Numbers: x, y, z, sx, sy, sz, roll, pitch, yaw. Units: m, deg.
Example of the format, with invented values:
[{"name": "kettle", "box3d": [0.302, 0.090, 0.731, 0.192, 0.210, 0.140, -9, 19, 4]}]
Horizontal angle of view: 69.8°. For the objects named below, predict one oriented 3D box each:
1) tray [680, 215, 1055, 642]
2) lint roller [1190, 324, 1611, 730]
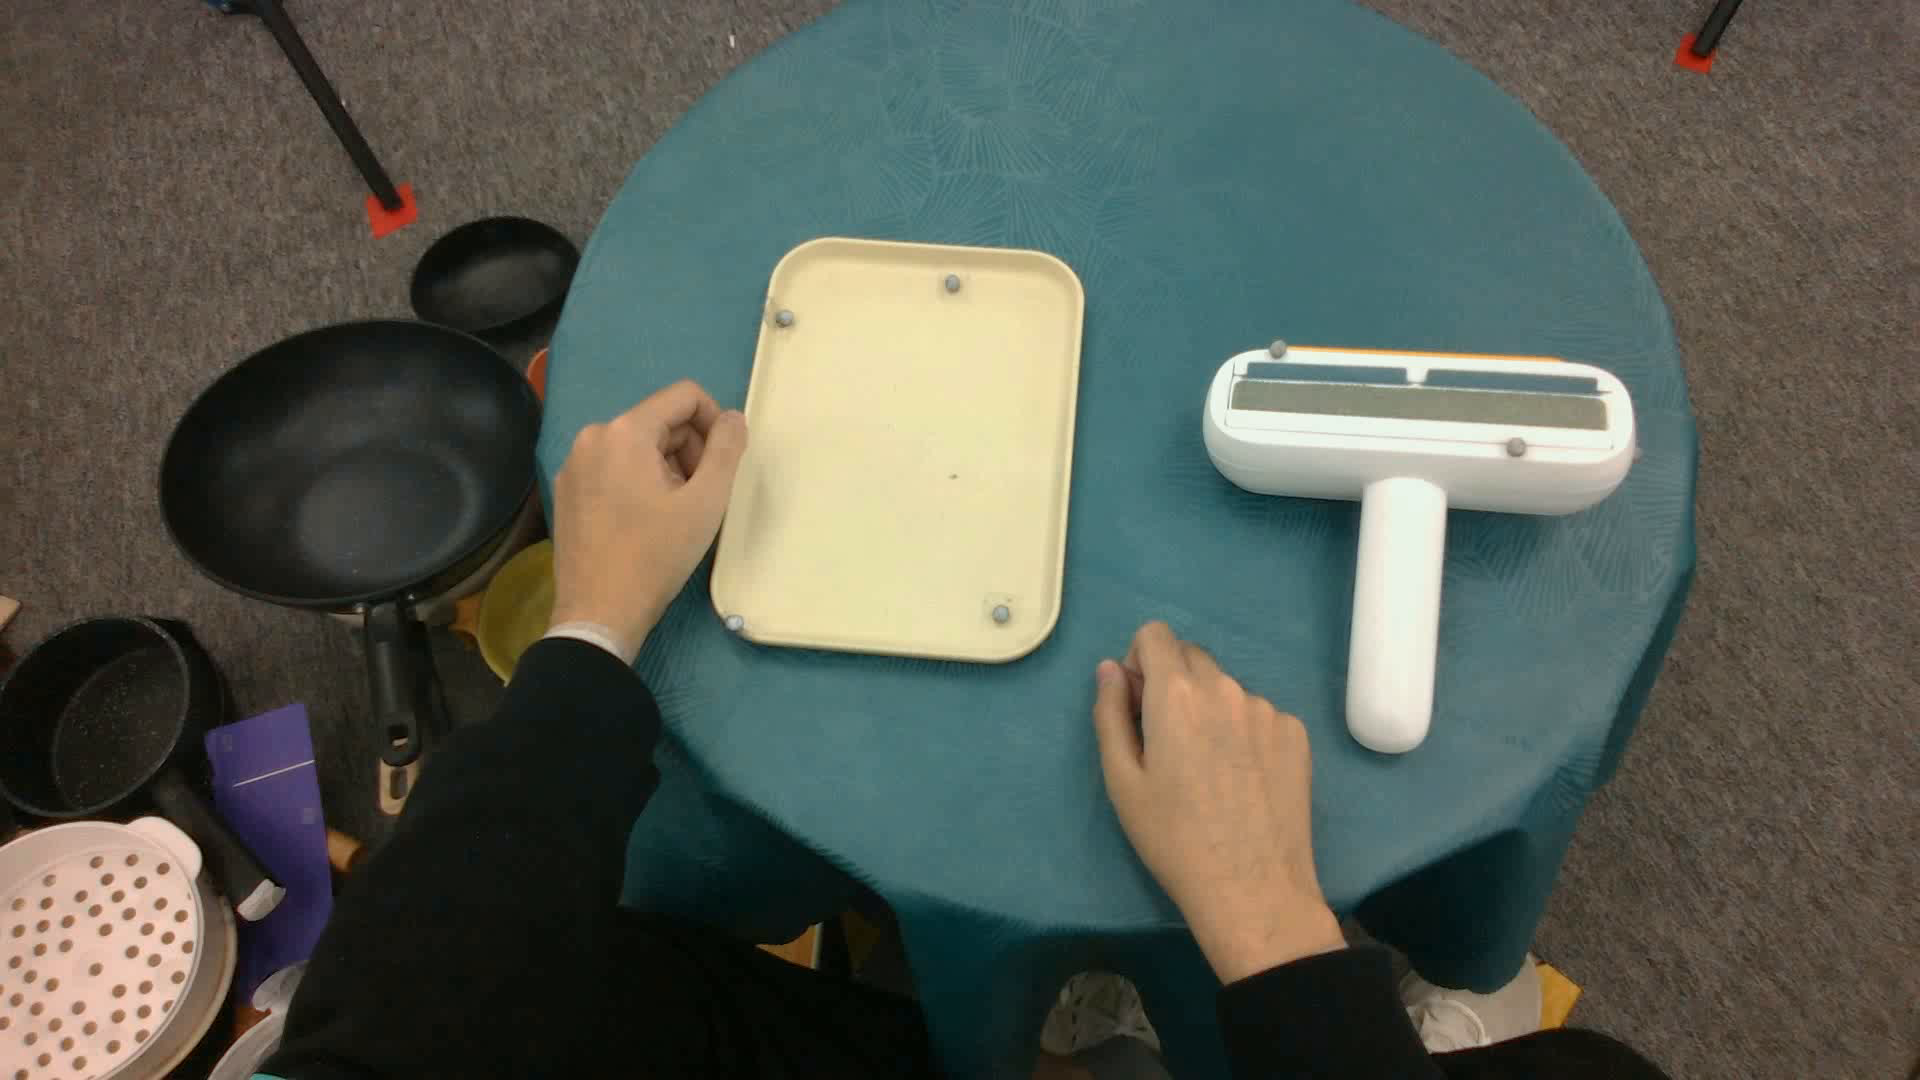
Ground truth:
[{"name": "tray", "box3d": [-0.042, -0.062, 0.702, 0.171, 0.017, 0.240, 5, 64, 2]}, {"name": "lint roller", "box3d": [0.195, -0.008, 0.647, 0.193, 0.074, 0.193, 11, 66, 11]}]
